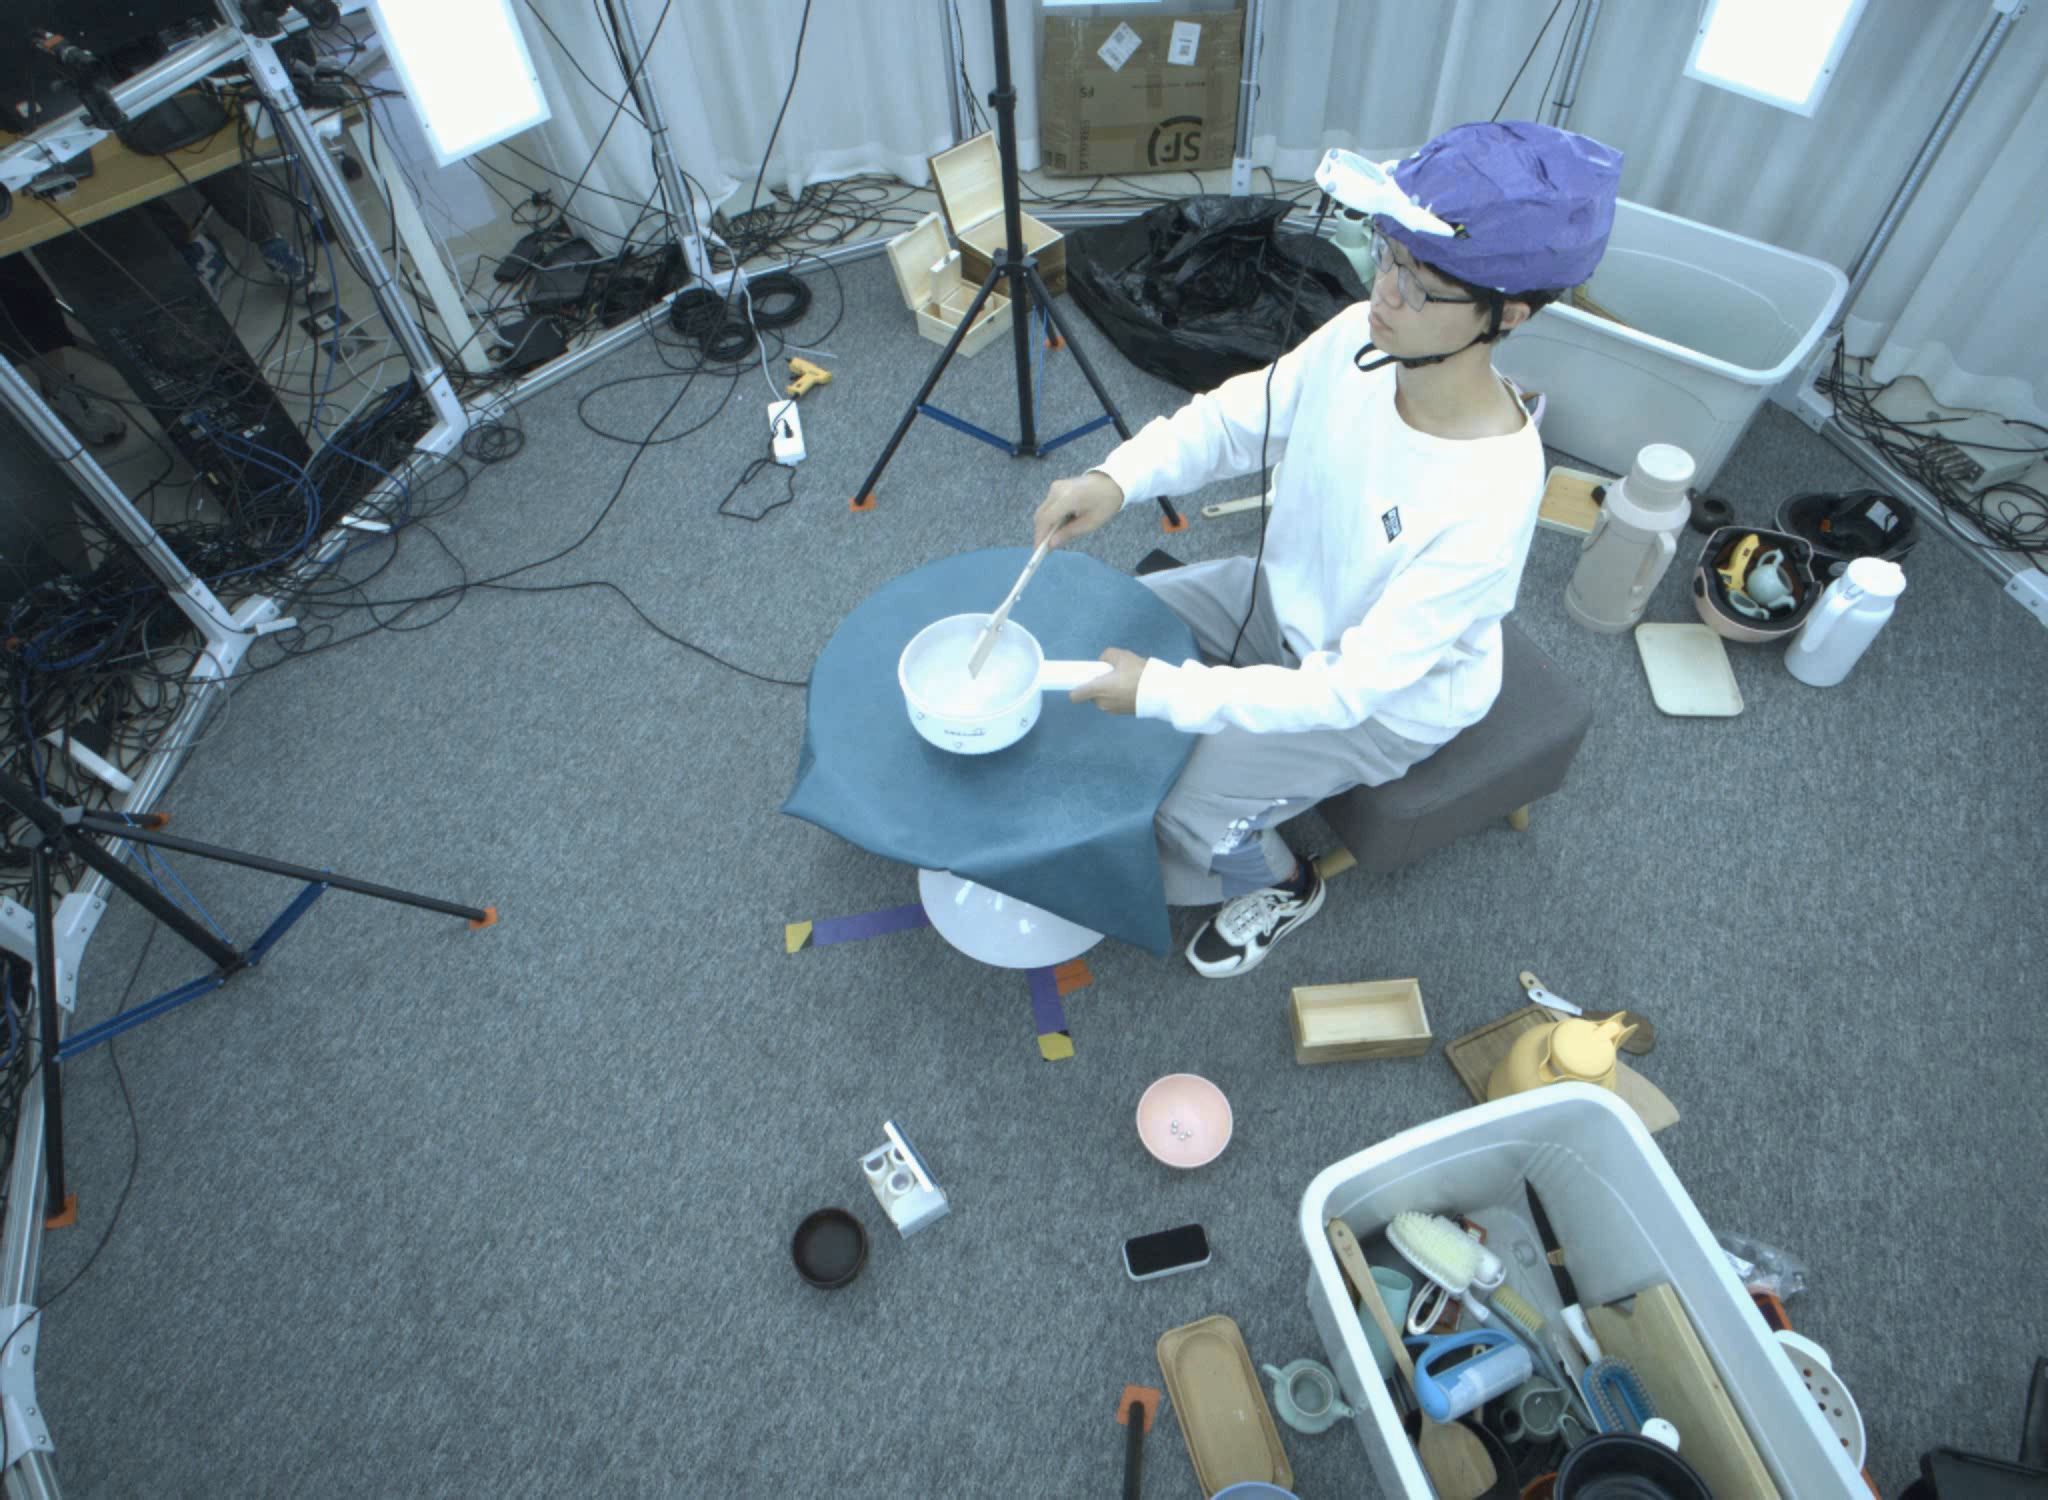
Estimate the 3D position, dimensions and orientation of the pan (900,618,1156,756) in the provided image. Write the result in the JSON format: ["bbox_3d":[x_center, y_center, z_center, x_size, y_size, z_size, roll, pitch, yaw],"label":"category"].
[{"bbox_3d":[0.006,-0.081,1.733,0.355,0.103,0.199,3,48,0],"label":"pan"}]

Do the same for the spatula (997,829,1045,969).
[{"bbox_3d":[0.005,0.272,2.269,0.072,0.011,0.289,-7,55,-5],"label":"spatula"}]
